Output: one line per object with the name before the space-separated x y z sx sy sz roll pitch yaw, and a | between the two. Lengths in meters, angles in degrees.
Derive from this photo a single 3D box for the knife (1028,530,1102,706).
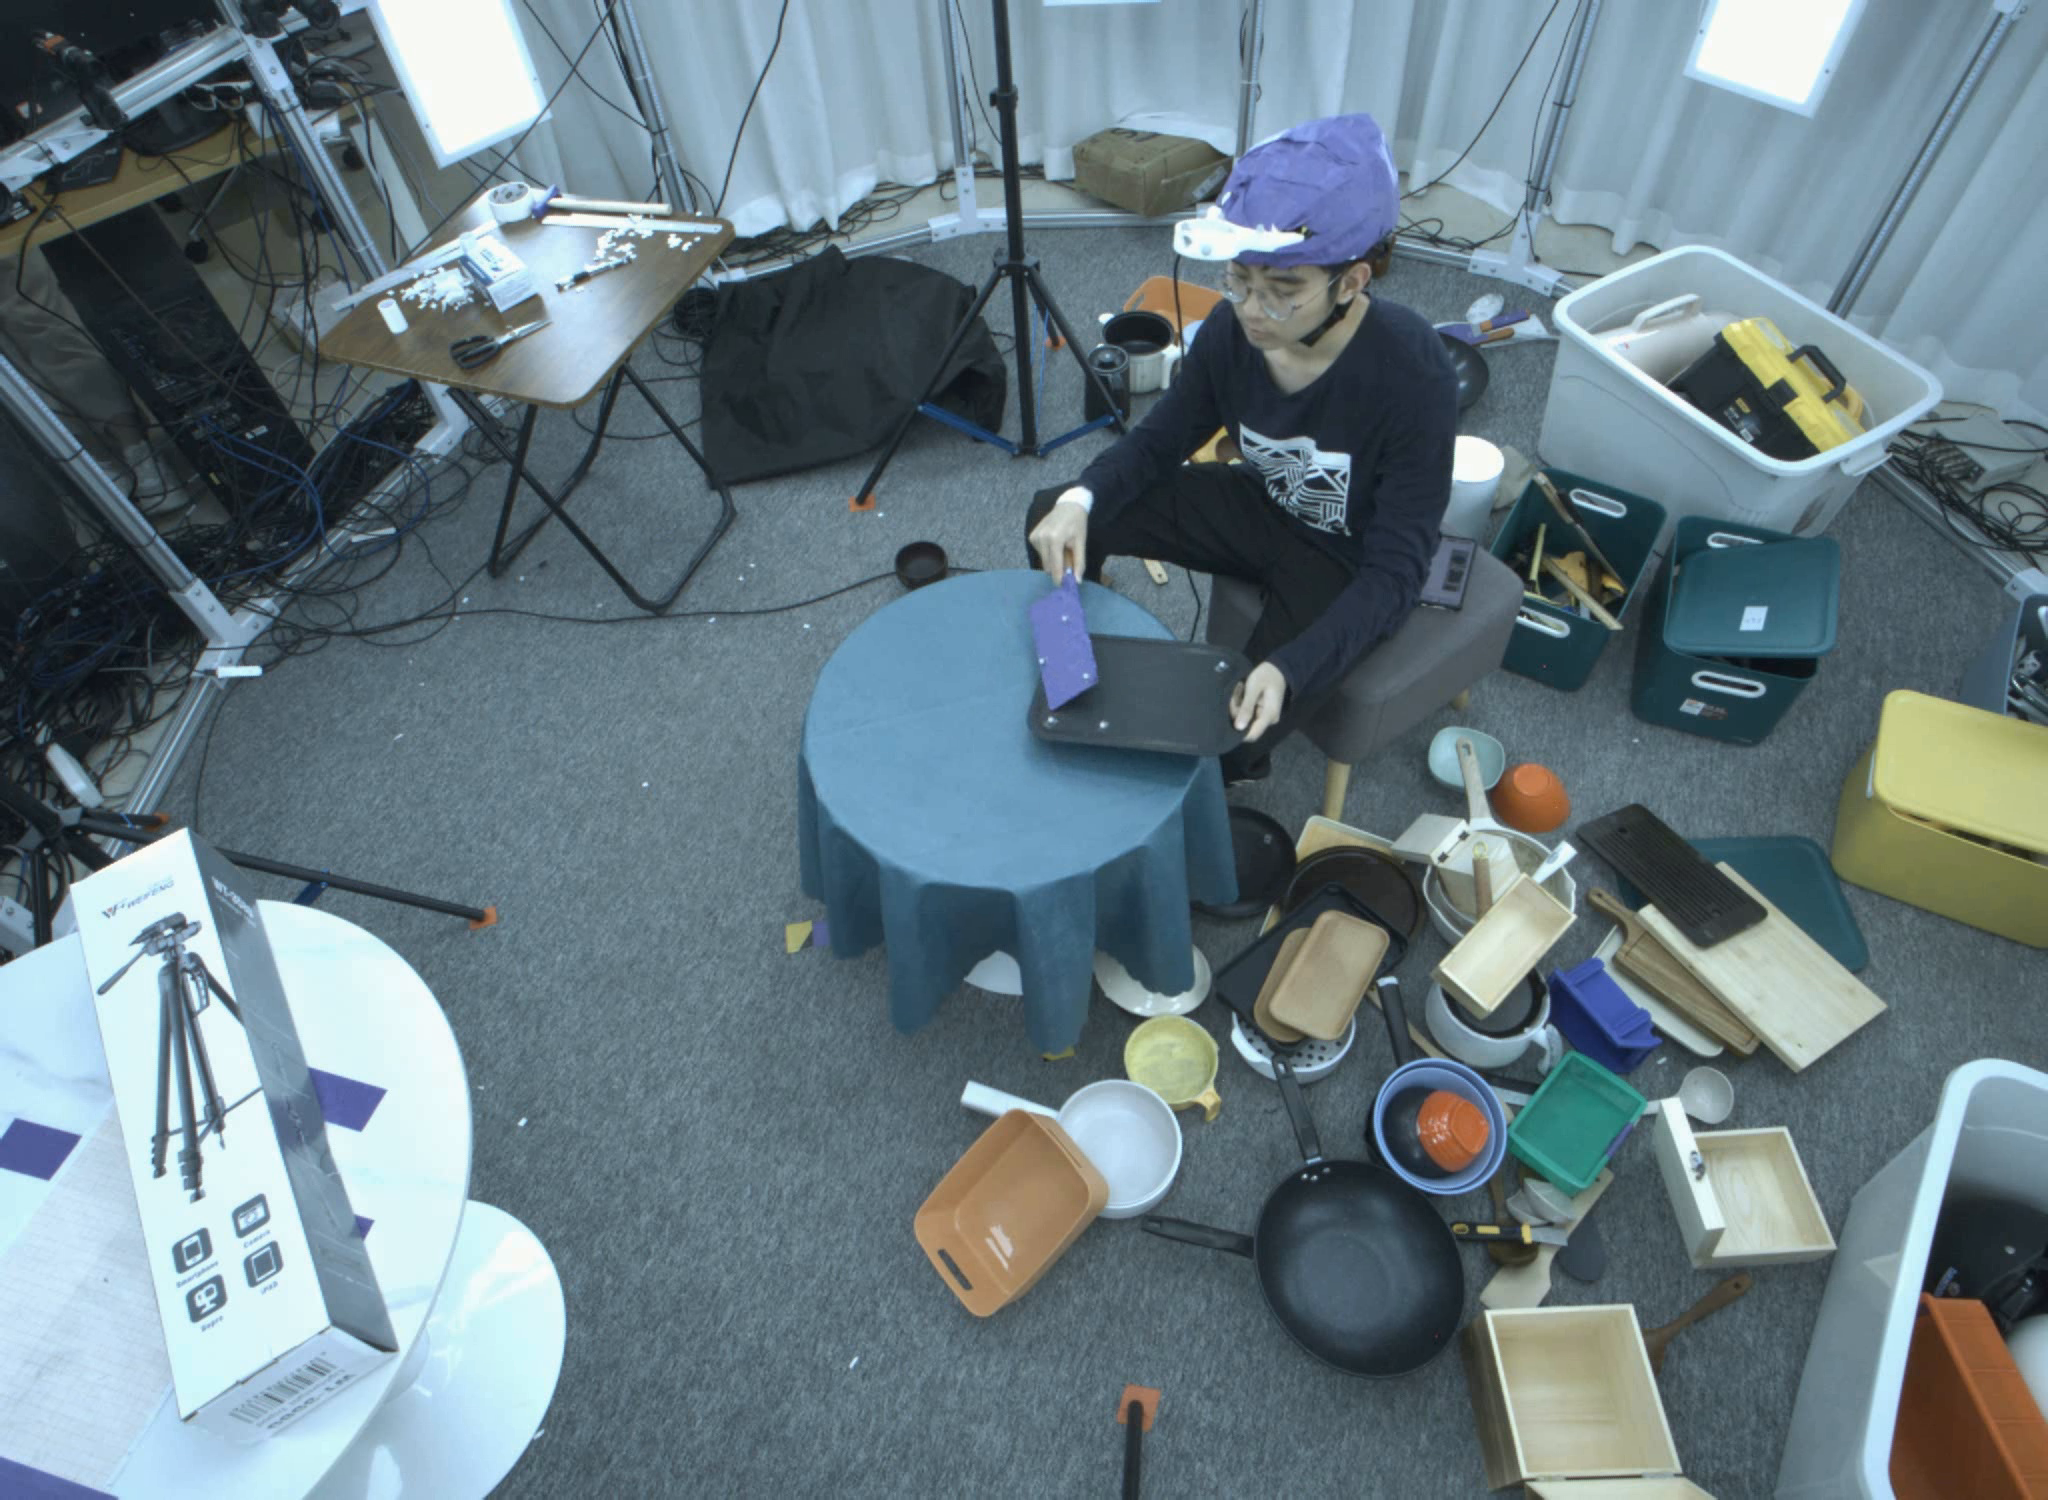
knife | 0.047 -0.202 1.847 0.103 0.033 0.311 -30 47 24

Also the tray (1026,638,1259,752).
tray | 0.175 -0.085 1.784 0.322 0.010 0.210 6 49 14
